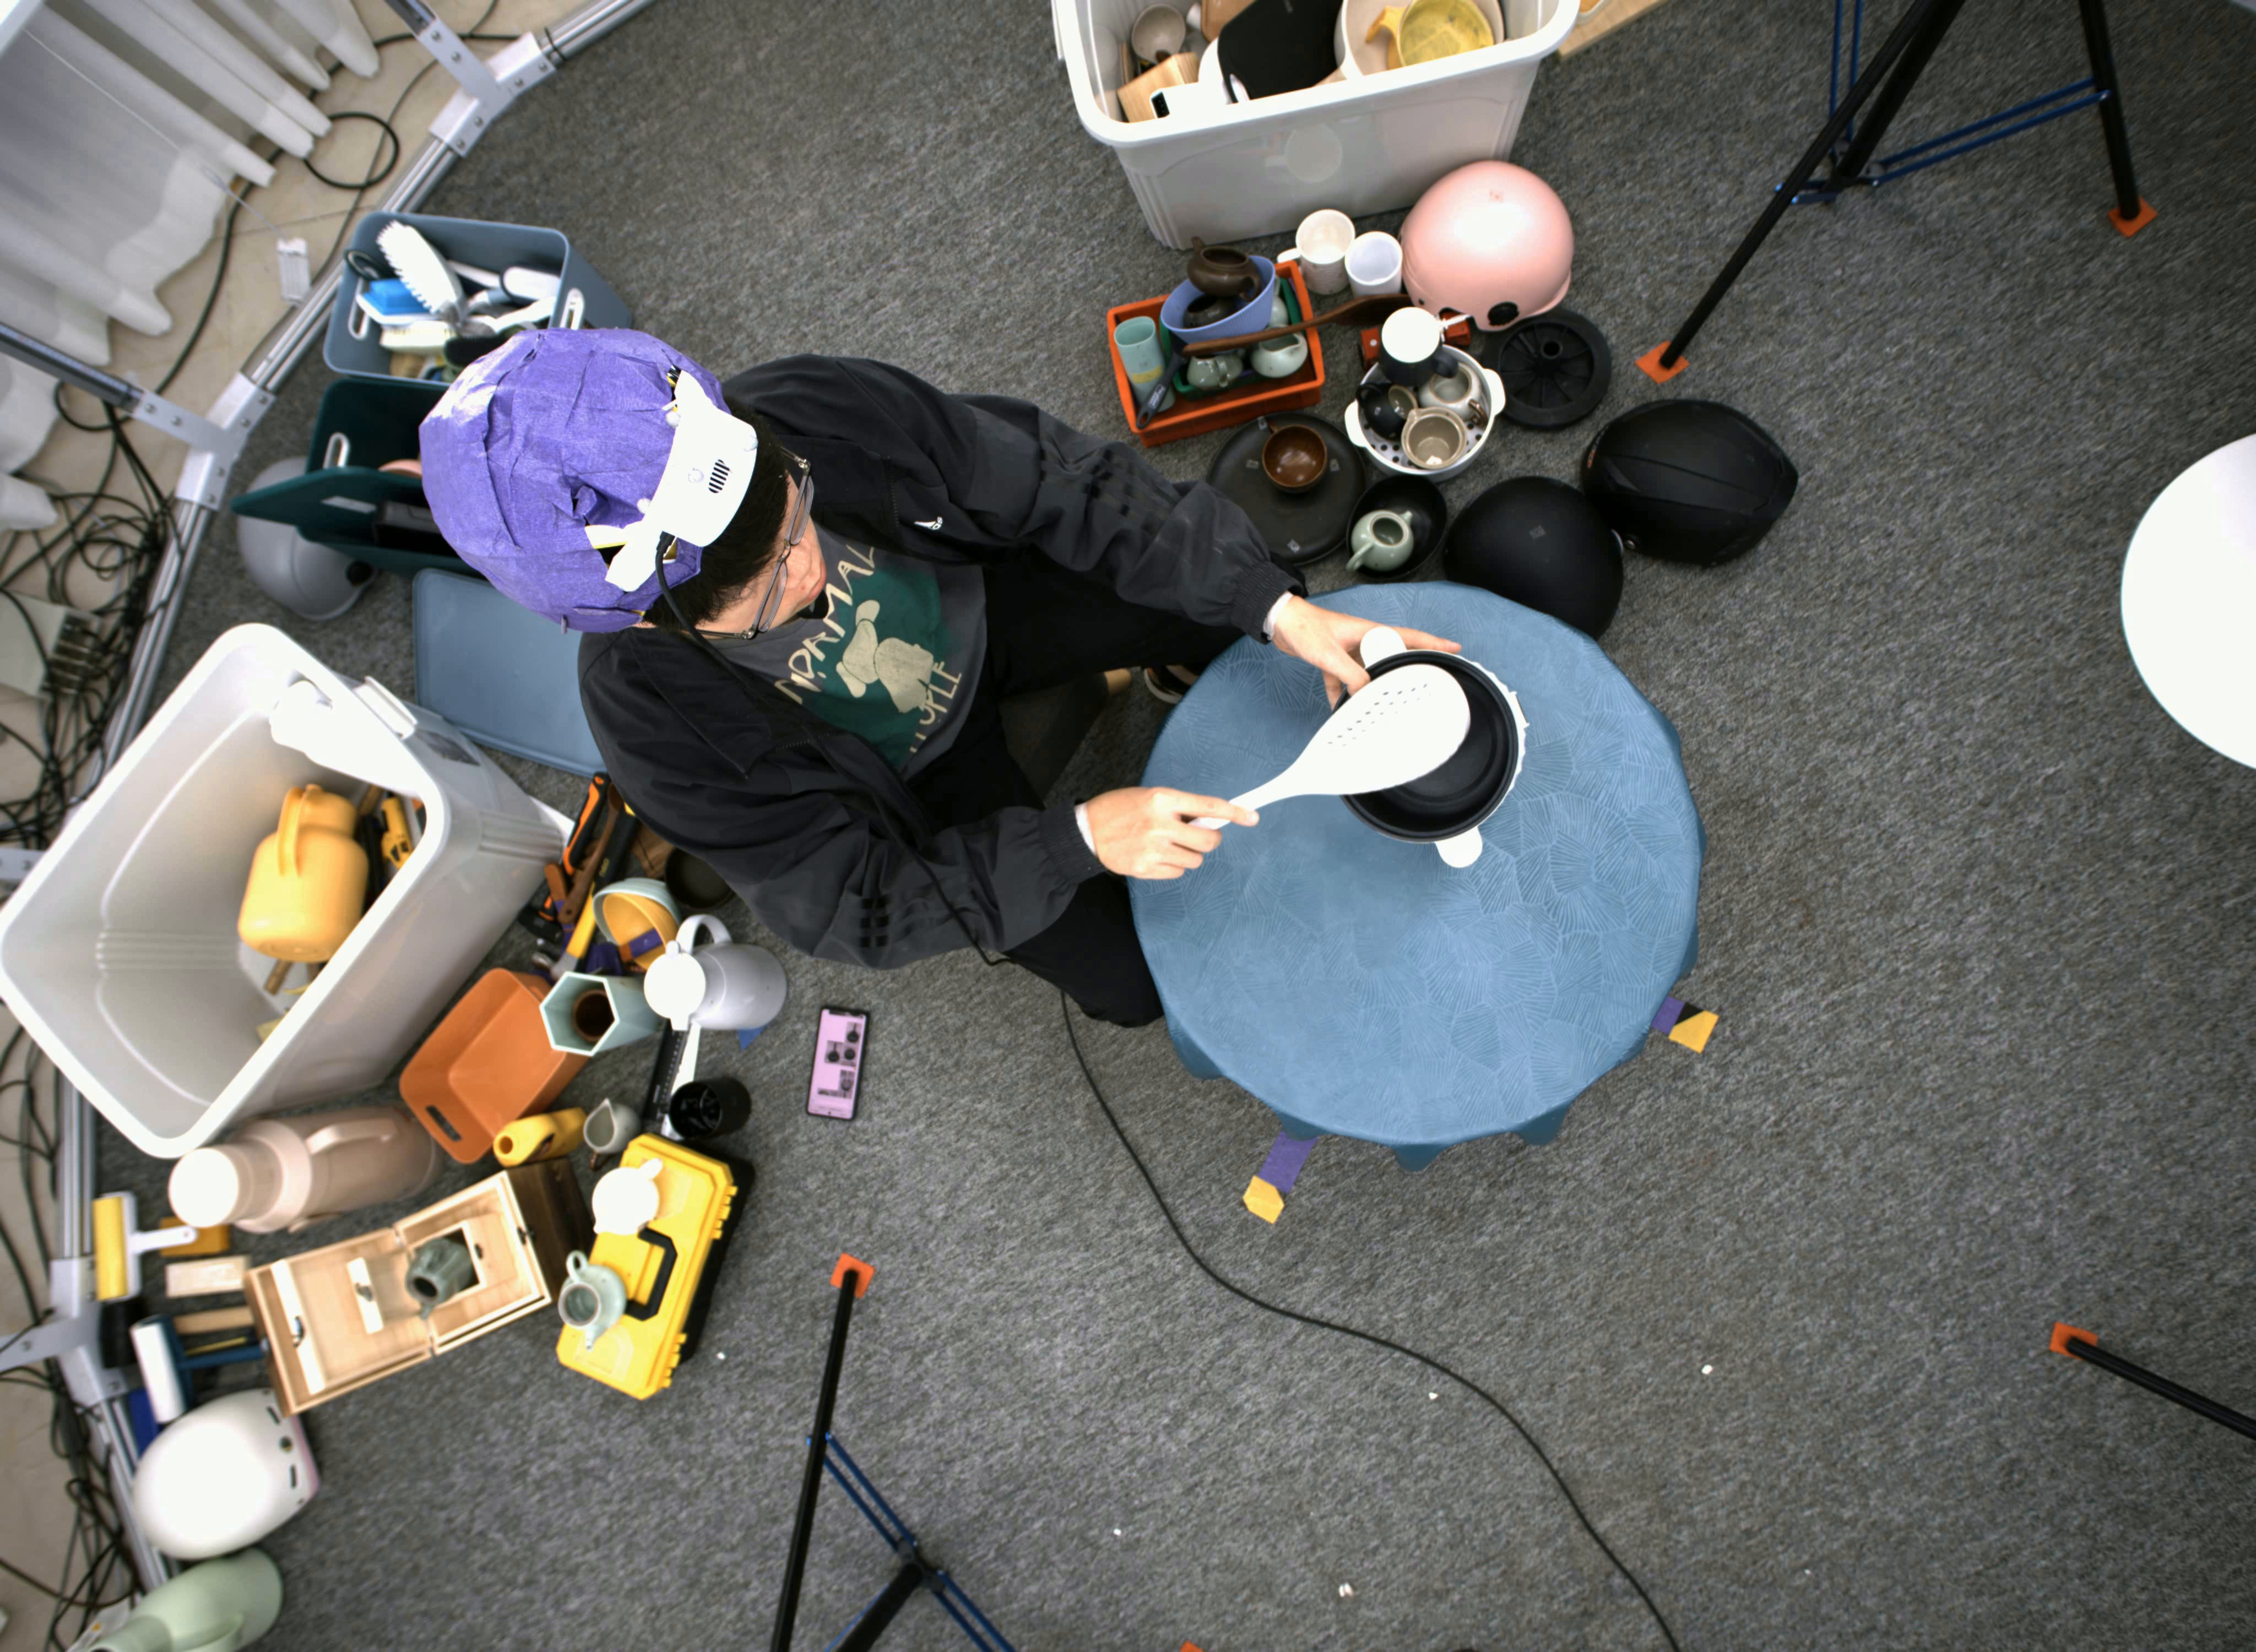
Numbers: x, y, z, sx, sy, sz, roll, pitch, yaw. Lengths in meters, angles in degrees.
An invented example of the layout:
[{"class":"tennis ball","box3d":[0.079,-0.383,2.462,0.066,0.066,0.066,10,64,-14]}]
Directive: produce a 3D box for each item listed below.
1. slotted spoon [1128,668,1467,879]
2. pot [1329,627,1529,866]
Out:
[{"class":"slotted spoon","box3d":[0.157,-0.034,1.289,0.351,0.139,0.049,-24,48,13]},{"class":"pot","box3d":[0.294,-0.079,1.346,0.193,0.141,0.240,-22,89,20]}]
